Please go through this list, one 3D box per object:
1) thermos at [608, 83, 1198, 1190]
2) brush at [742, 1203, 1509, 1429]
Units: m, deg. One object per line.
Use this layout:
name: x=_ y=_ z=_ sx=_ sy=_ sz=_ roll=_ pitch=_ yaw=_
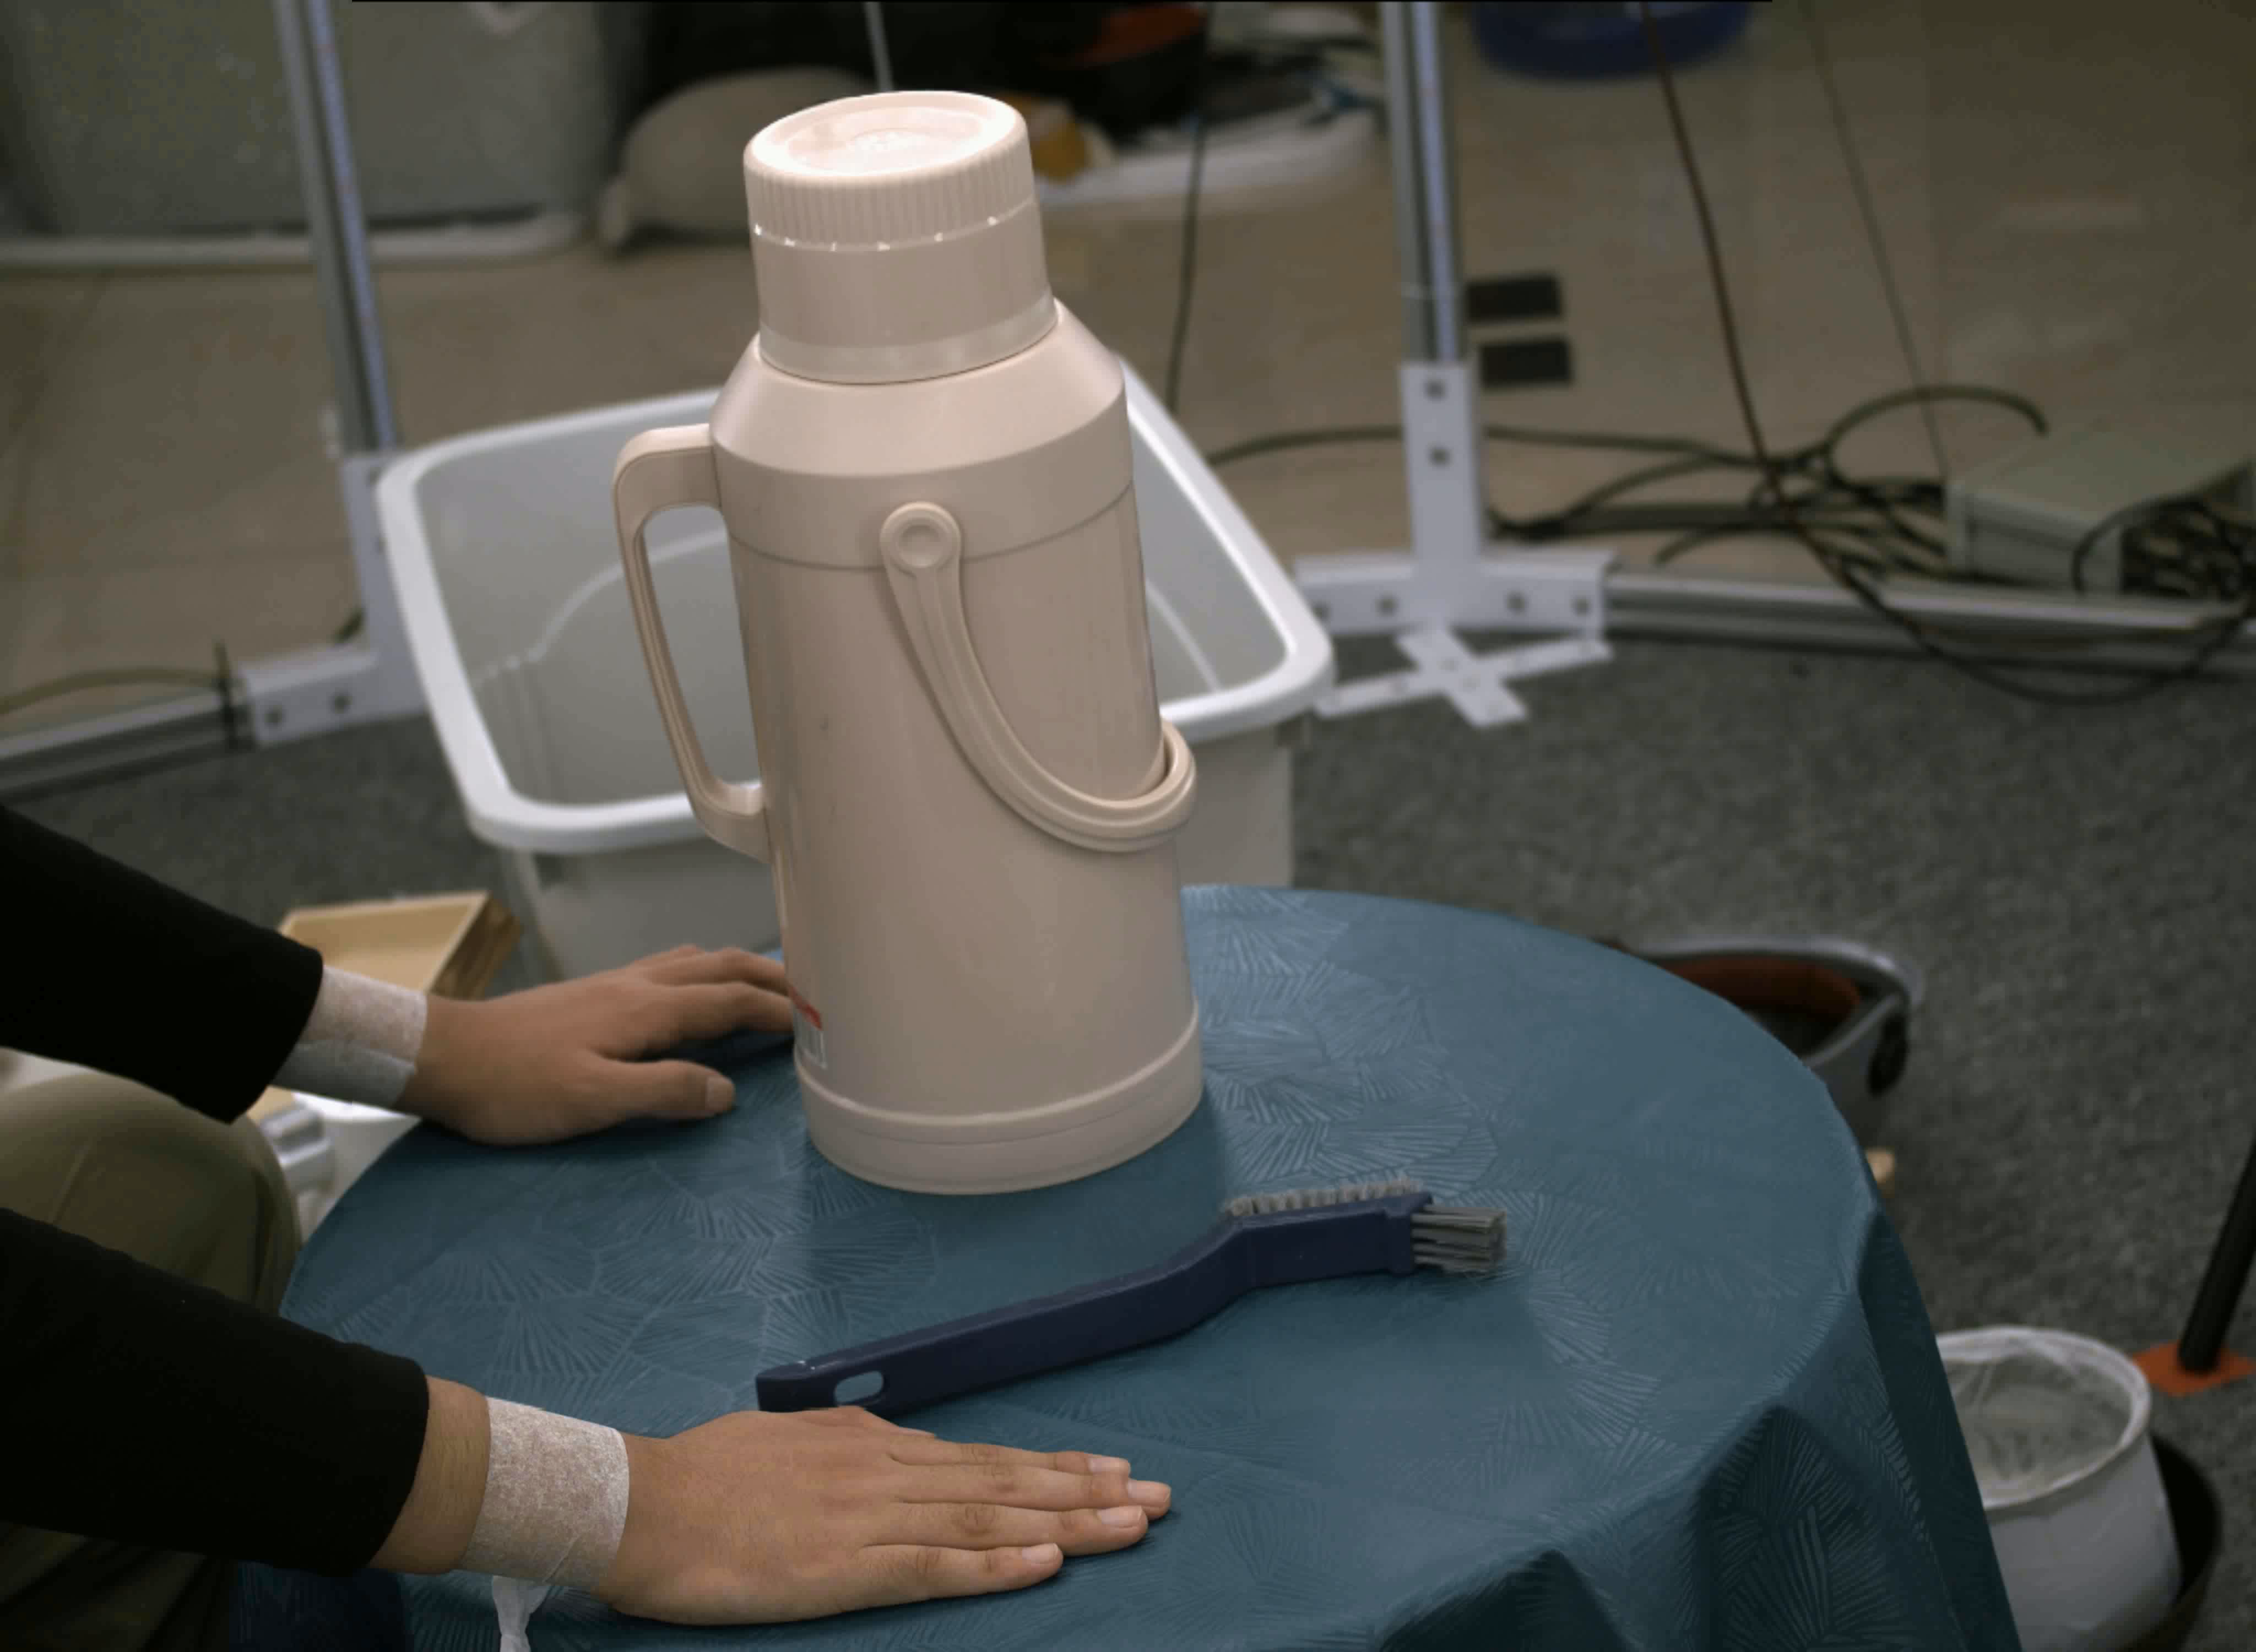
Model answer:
thermos: x=-0.084 y=-0.071 z=2.142 sx=0.207 sy=0.413 sz=0.172 roll=-6 pitch=27 yaw=1
brush: x=-0.002 y=0.175 z=2.031 sx=0.272 sy=0.034 sz=0.094 roll=-16 pitch=25 yaw=-24
